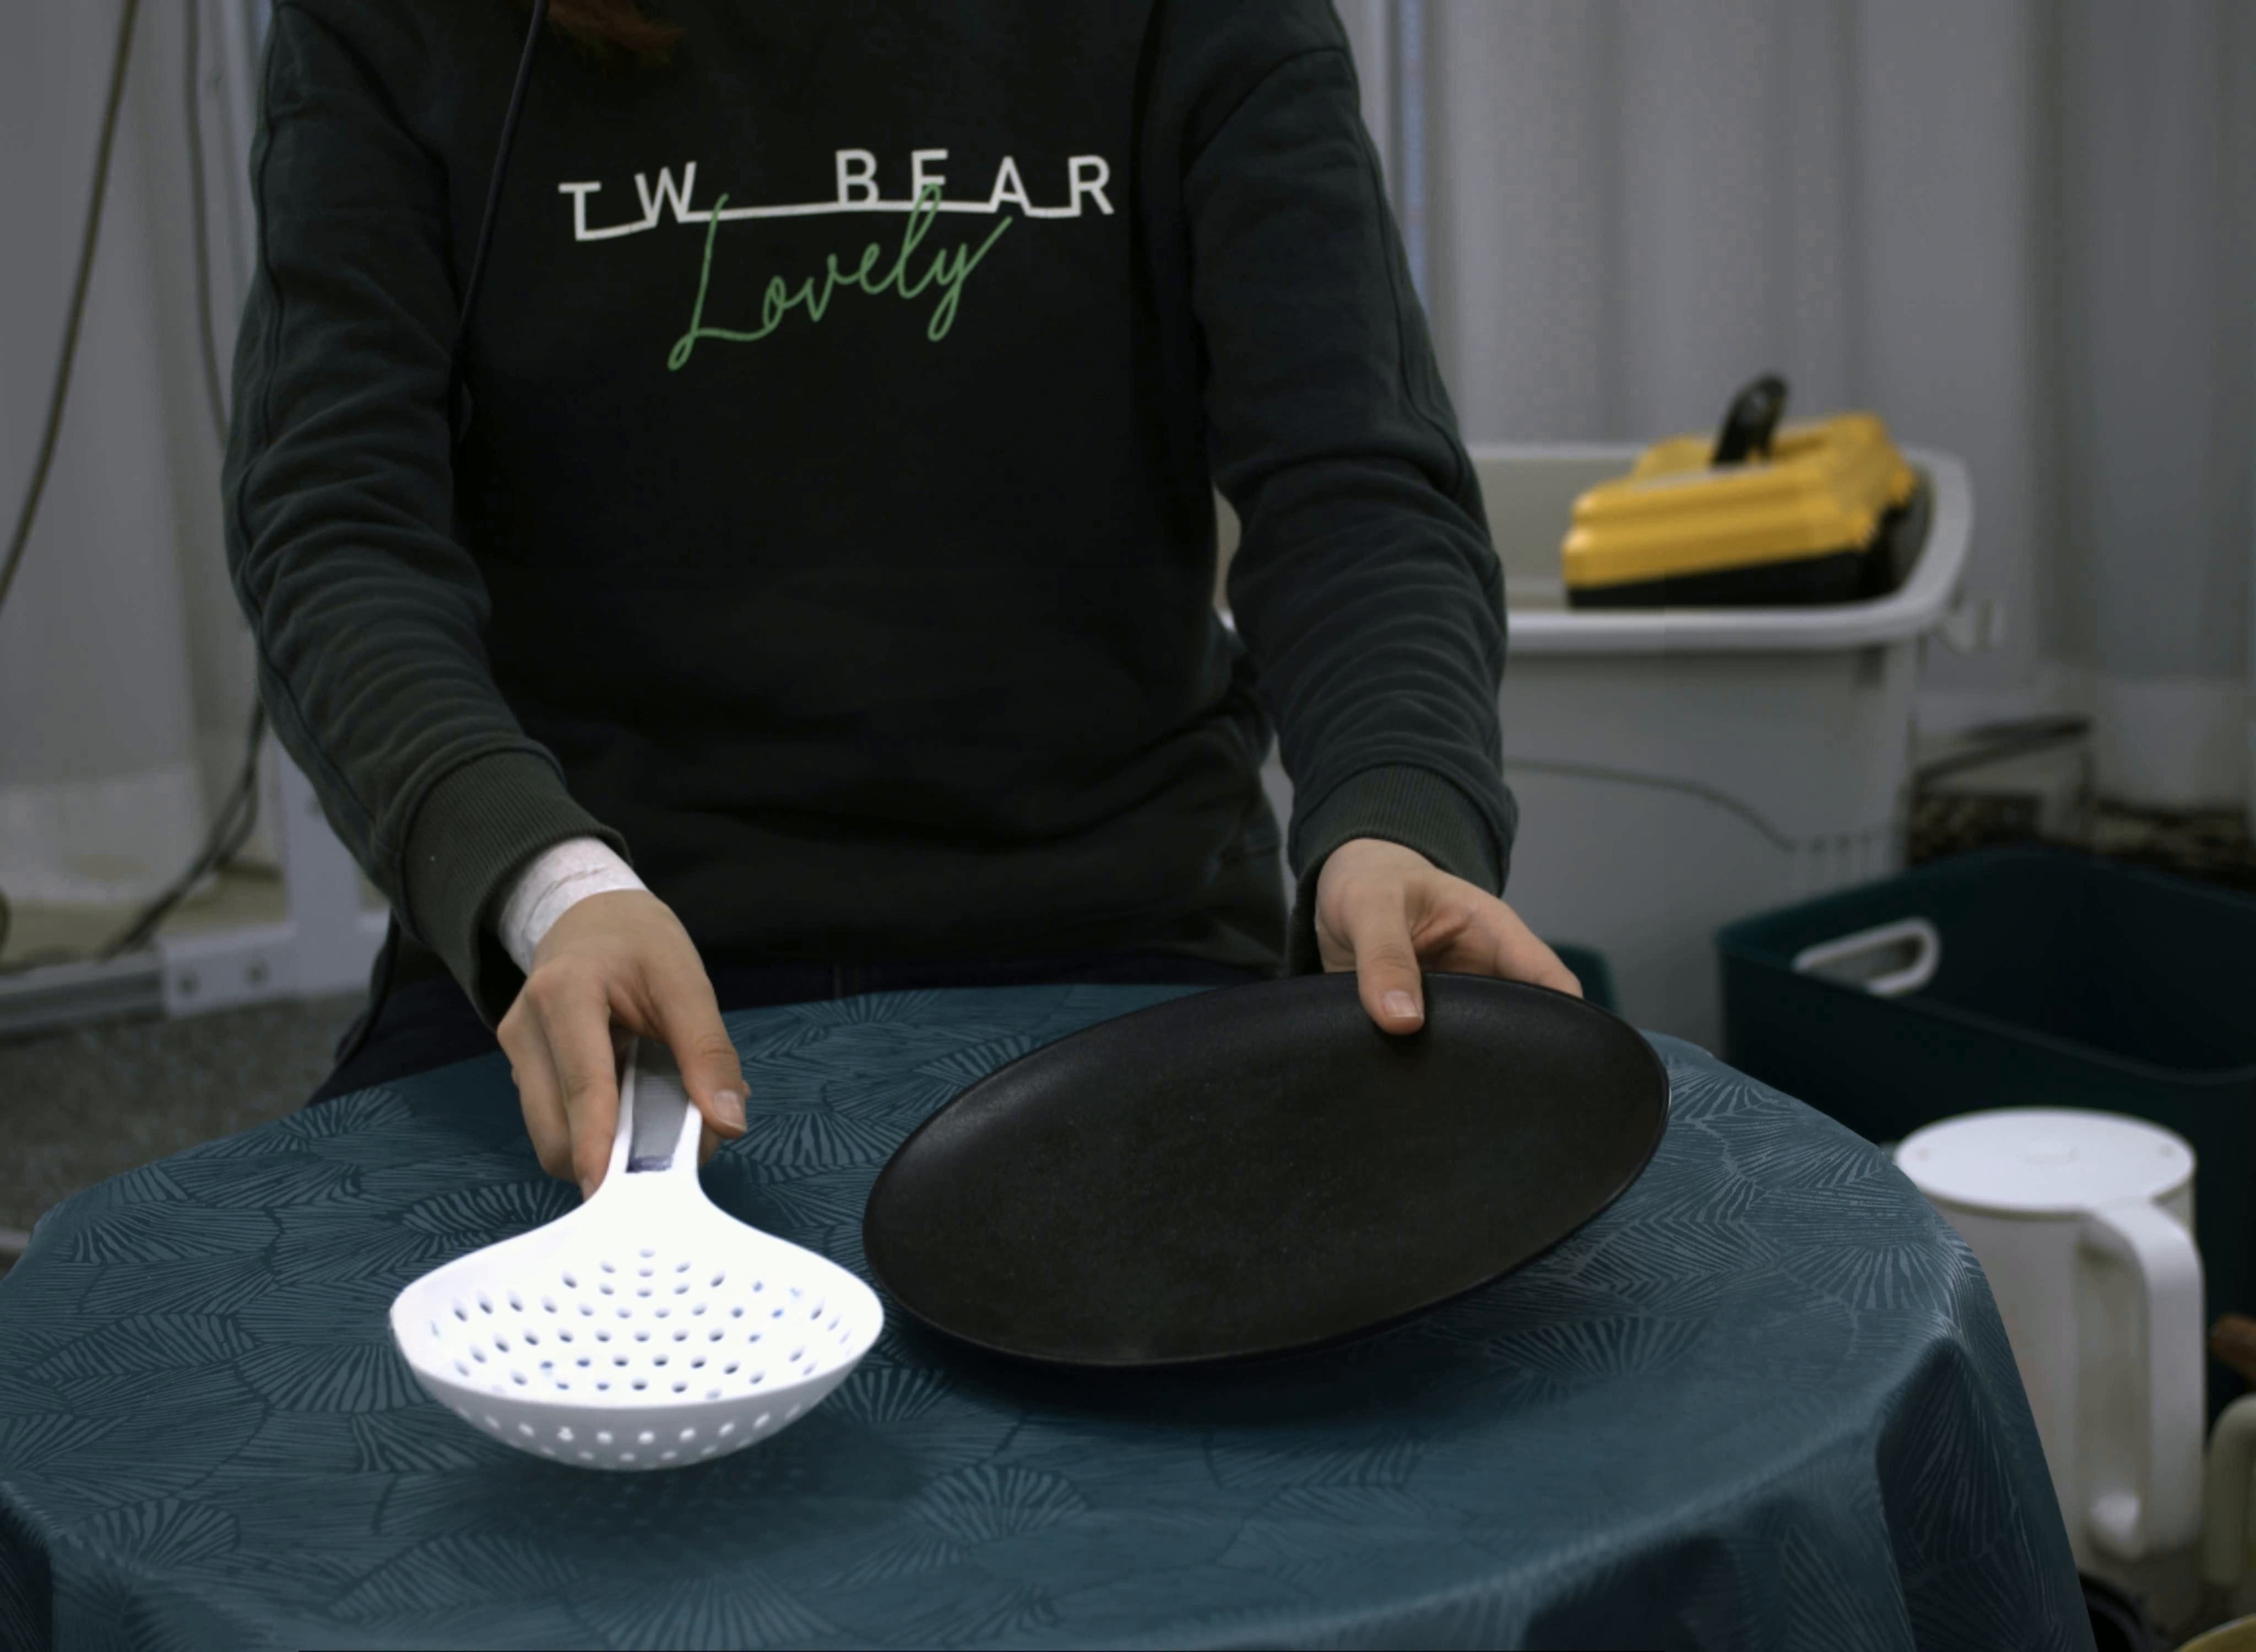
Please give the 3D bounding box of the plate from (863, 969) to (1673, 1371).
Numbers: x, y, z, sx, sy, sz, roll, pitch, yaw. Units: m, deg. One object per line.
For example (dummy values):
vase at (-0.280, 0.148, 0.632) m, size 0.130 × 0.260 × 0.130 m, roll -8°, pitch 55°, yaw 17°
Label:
plate at (0.042, 0.105, 1.615) m, size 0.243 × 0.023 × 0.247 m, roll -11°, pitch 22°, yaw 4°

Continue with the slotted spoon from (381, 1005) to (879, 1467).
slotted spoon at (-0.140, 0.111, 1.599) m, size 0.135 × 0.045 × 0.353 m, roll 1°, pitch 20°, yaw -3°
